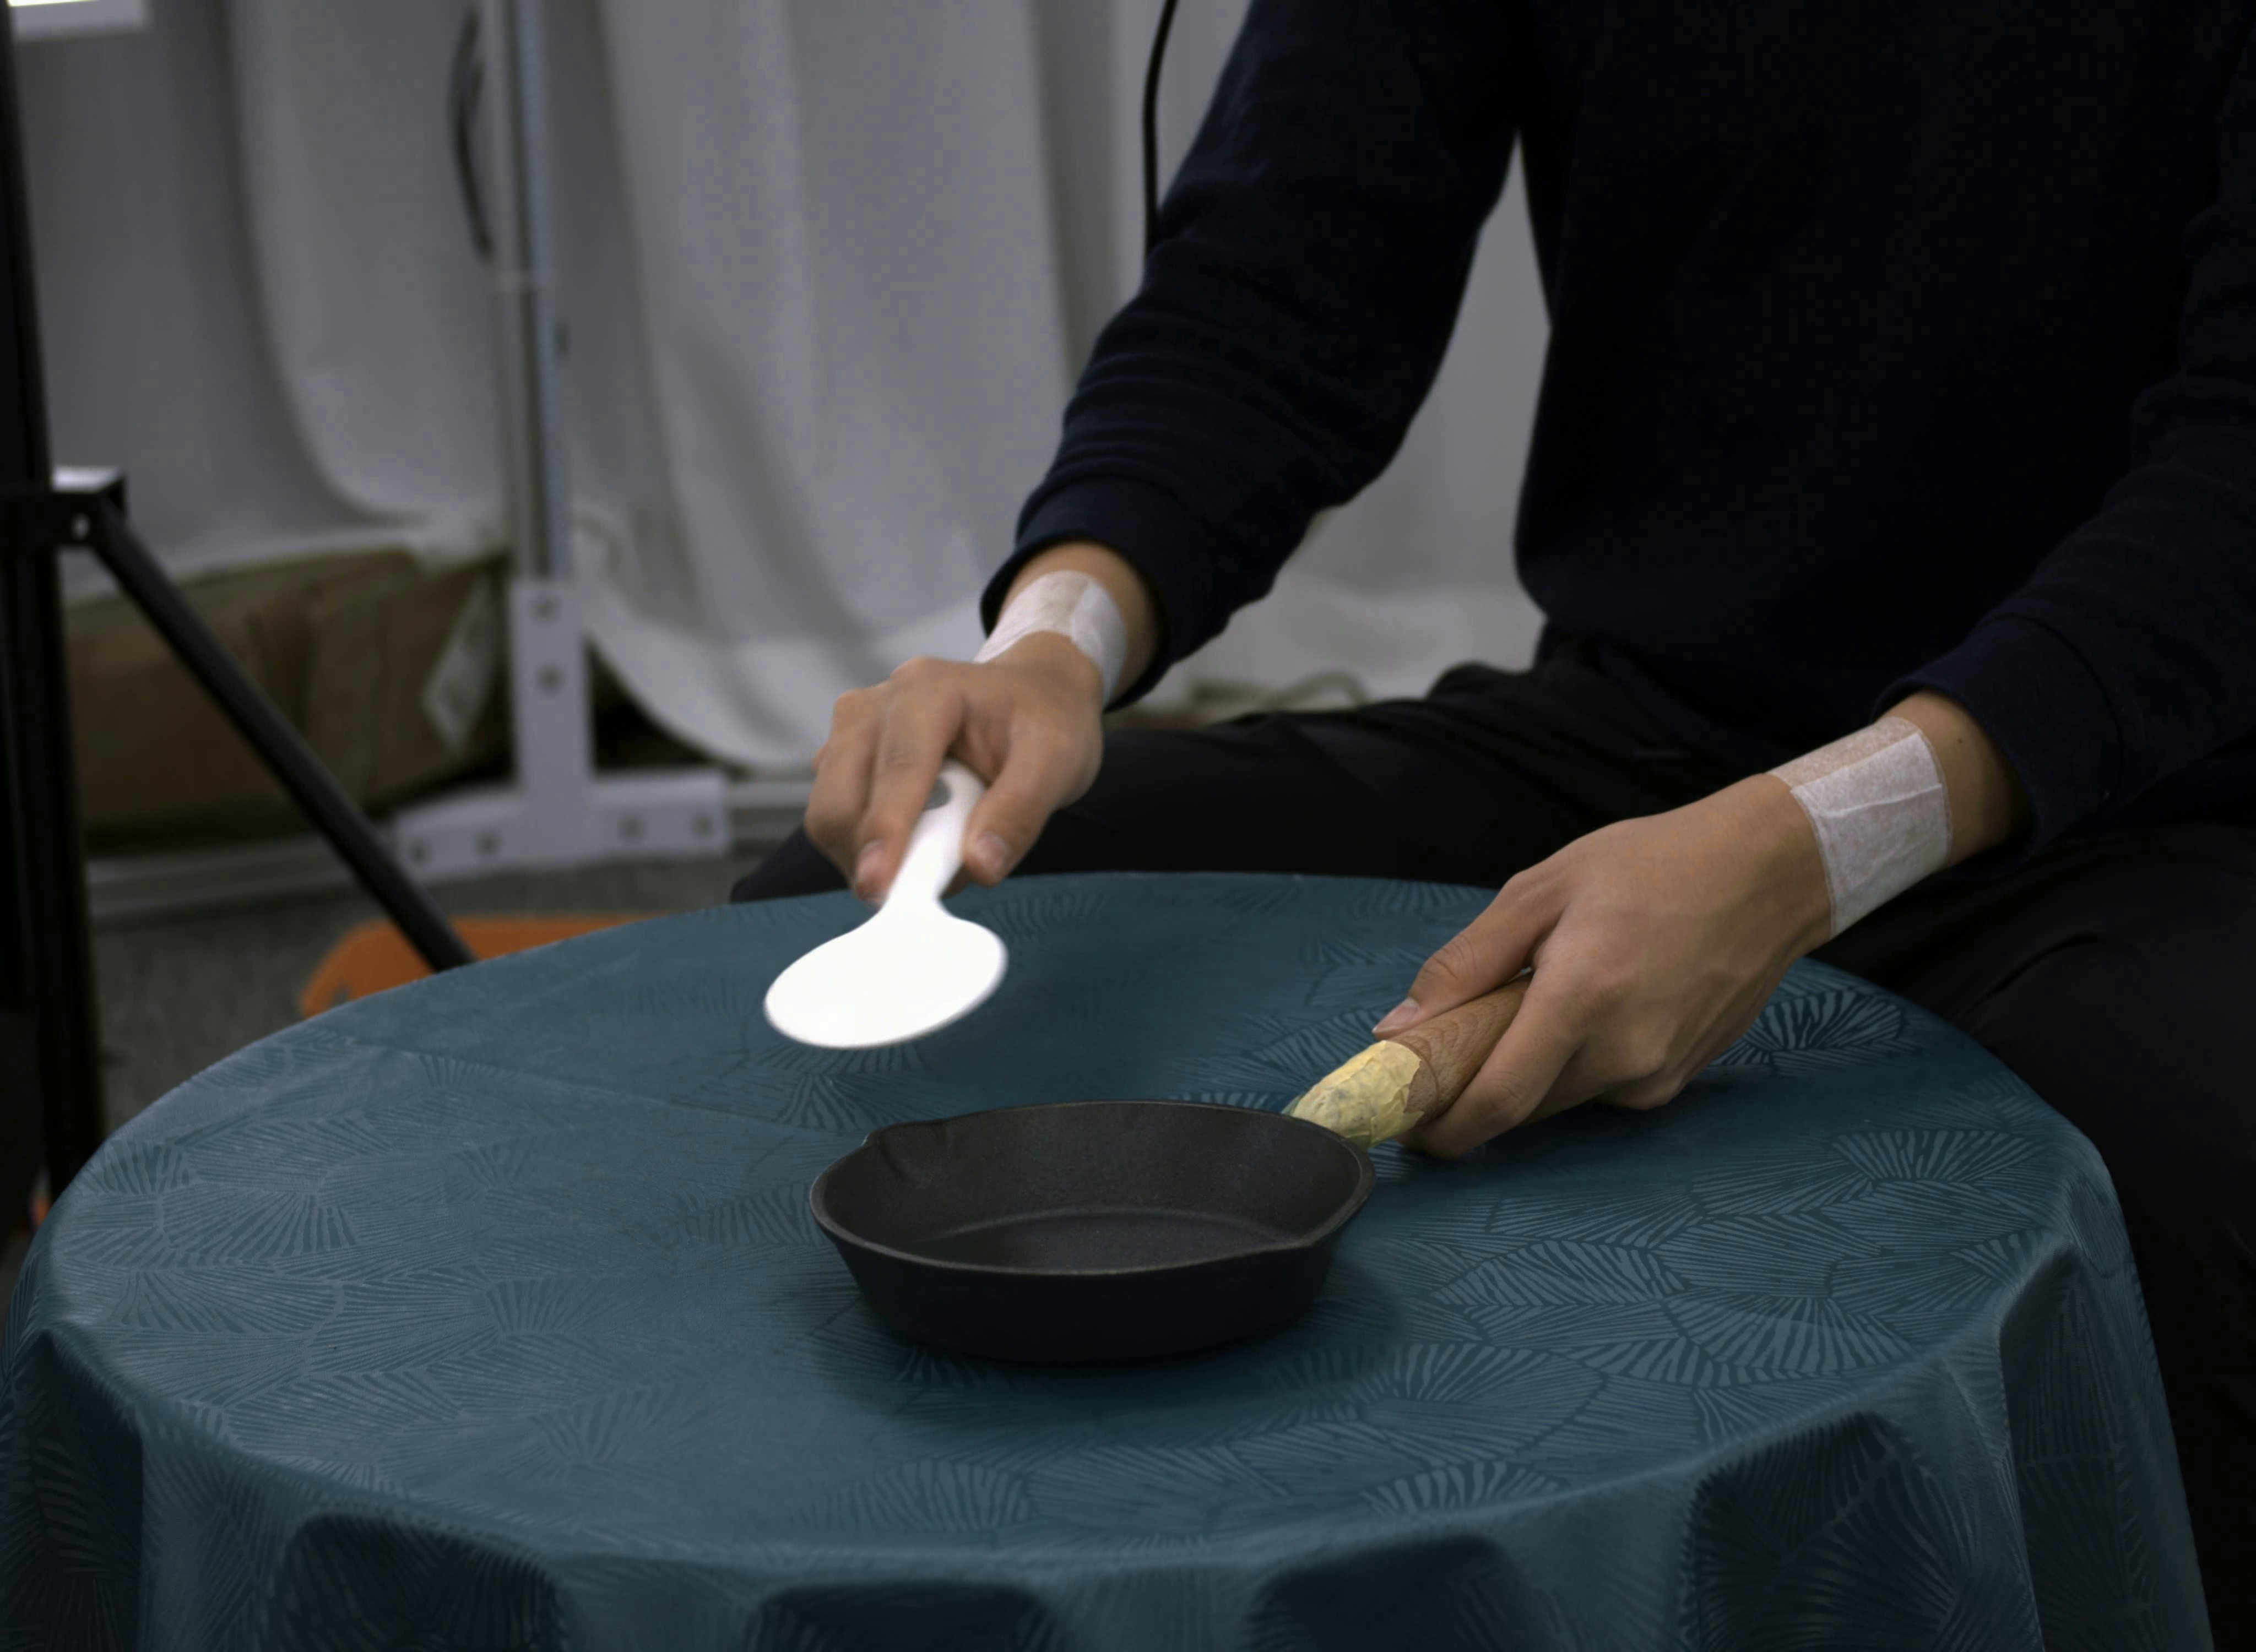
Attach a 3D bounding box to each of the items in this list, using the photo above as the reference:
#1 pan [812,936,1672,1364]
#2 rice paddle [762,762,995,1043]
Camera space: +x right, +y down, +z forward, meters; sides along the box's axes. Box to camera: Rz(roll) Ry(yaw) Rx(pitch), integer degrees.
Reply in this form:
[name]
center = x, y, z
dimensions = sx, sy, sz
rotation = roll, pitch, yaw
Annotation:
[pan]
center = 0.051, 0.089, 1.524
dimensions = 0.317, 0.049, 0.173
rotation = -17, 19, -40
[rice paddle]
center = -0.067, 0.025, 1.586
dimensions = 0.069, 0.029, 0.205
rotation = -11, 17, 8
